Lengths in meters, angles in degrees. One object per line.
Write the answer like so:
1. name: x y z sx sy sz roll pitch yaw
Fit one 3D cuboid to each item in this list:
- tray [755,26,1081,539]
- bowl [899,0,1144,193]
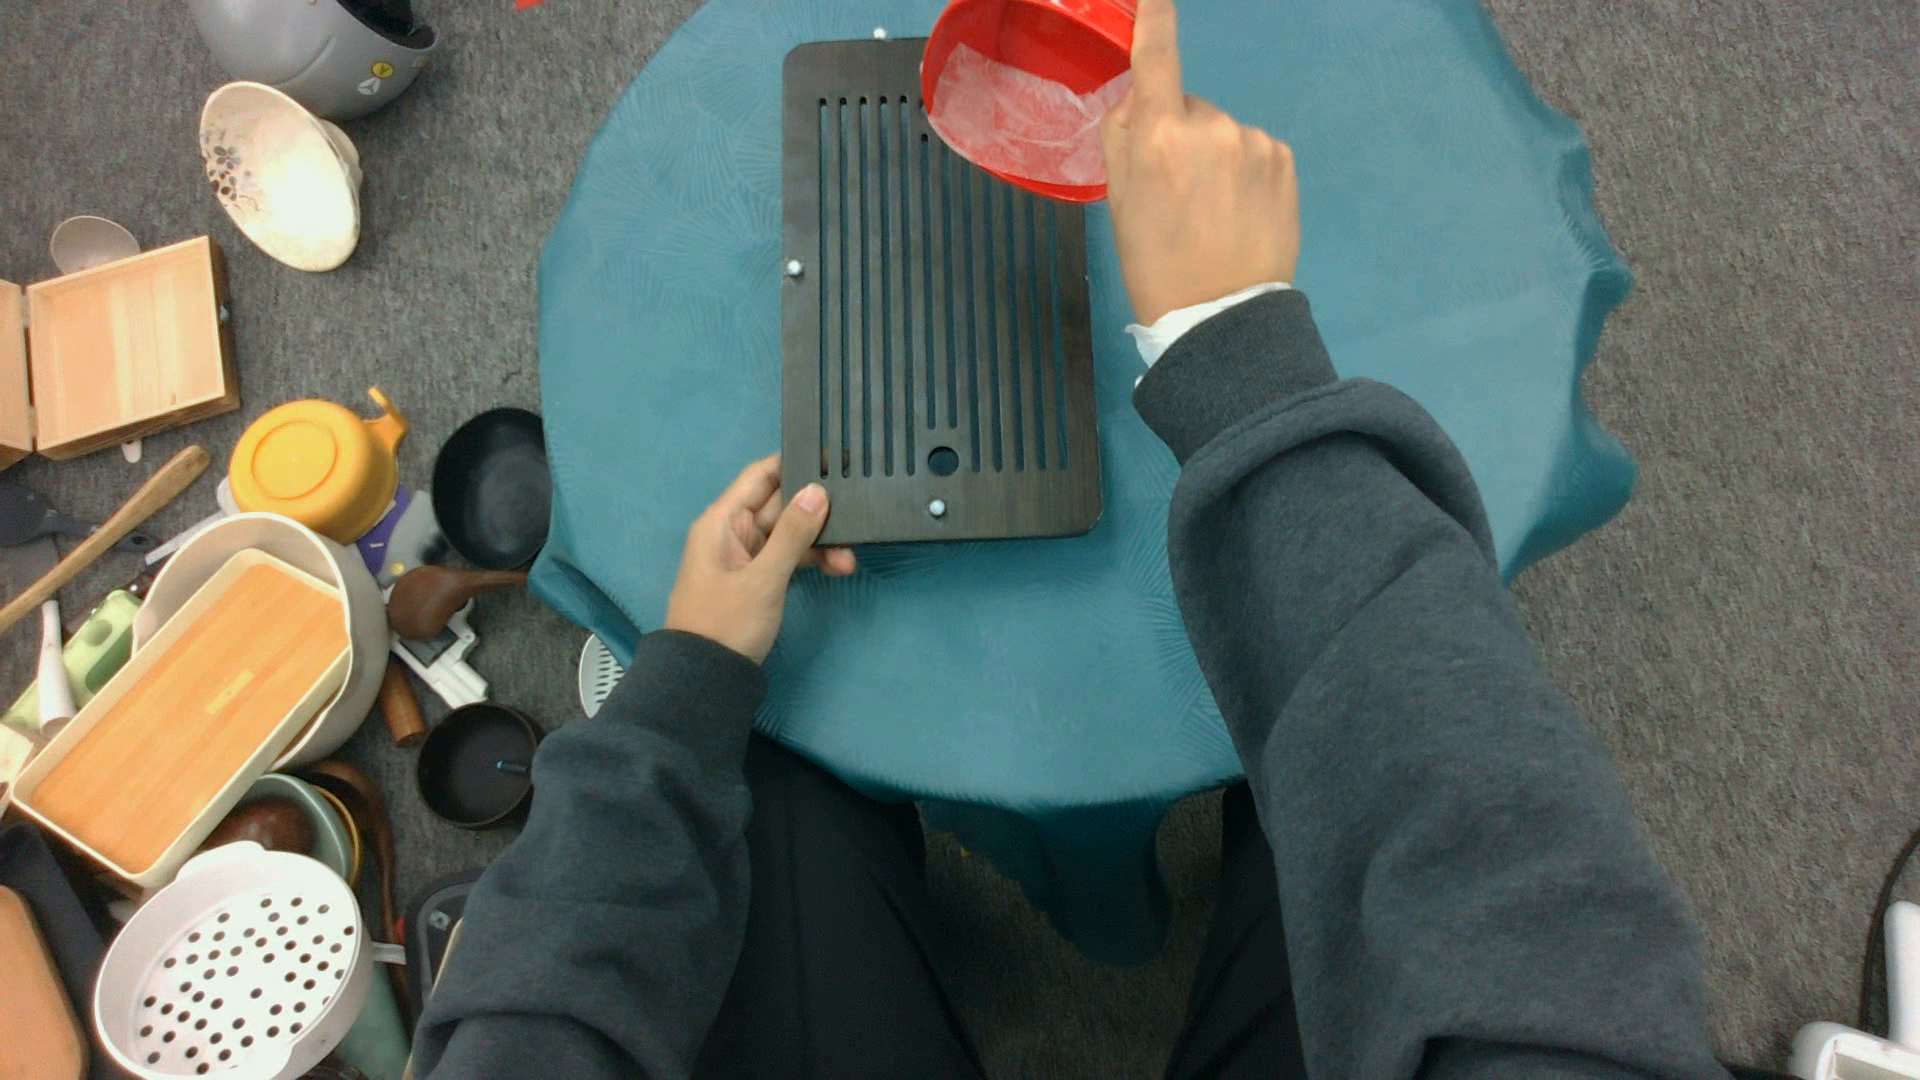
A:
1. tray: -0.027 -0.150 0.762 0.170 0.018 0.306 -3 74 0
2. bowl: 0.033 -0.218 0.625 0.119 0.118 0.051 18 62 10
